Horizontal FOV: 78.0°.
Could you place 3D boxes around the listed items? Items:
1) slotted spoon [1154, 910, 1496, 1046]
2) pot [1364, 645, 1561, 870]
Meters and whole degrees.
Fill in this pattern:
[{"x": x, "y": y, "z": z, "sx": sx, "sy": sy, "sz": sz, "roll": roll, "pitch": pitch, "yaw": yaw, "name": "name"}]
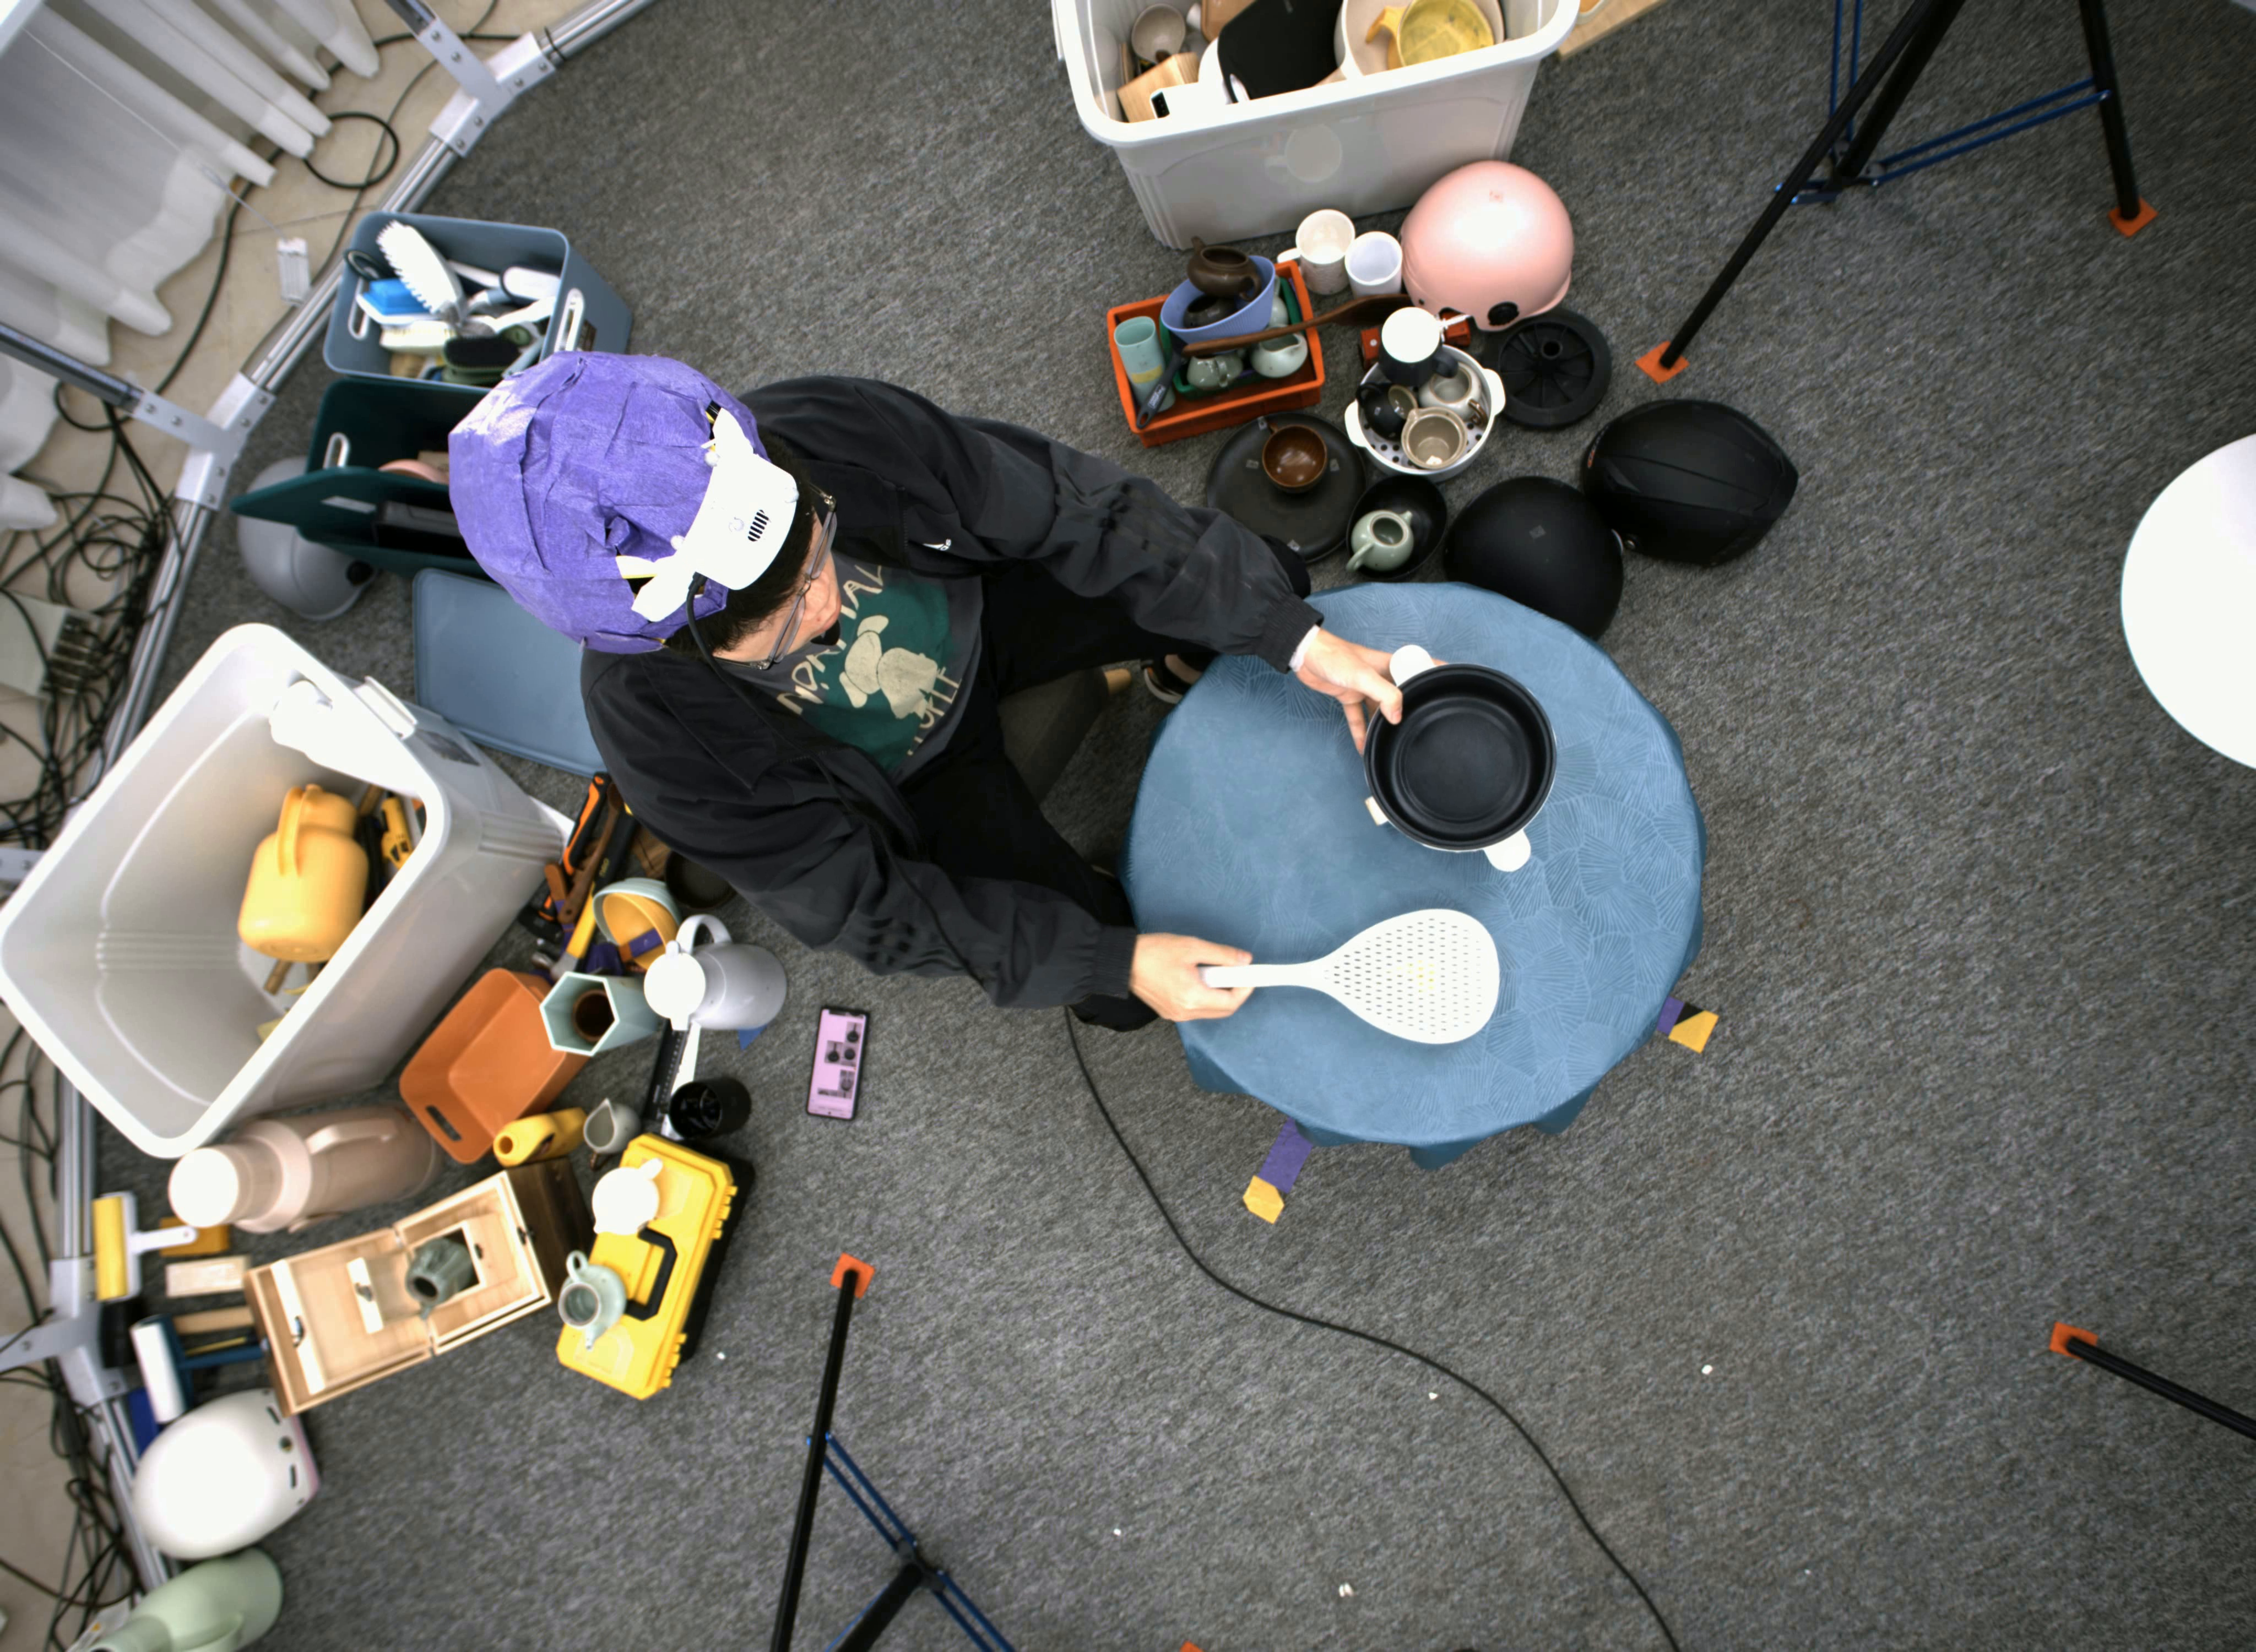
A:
[{"x": 0.198, "y": 0.156, "z": 1.422, "sx": 0.349, "sy": 0.050, "sz": 0.136, "roll": -1, "pitch": 85, "yaw": 6, "name": "slotted spoon"}, {"x": 0.326, "y": -0.060, "z": 1.371, "sx": 0.192, "sy": 0.143, "sz": 0.239, "roll": -28, "pitch": 81, "yaw": 8, "name": "pot"}]
